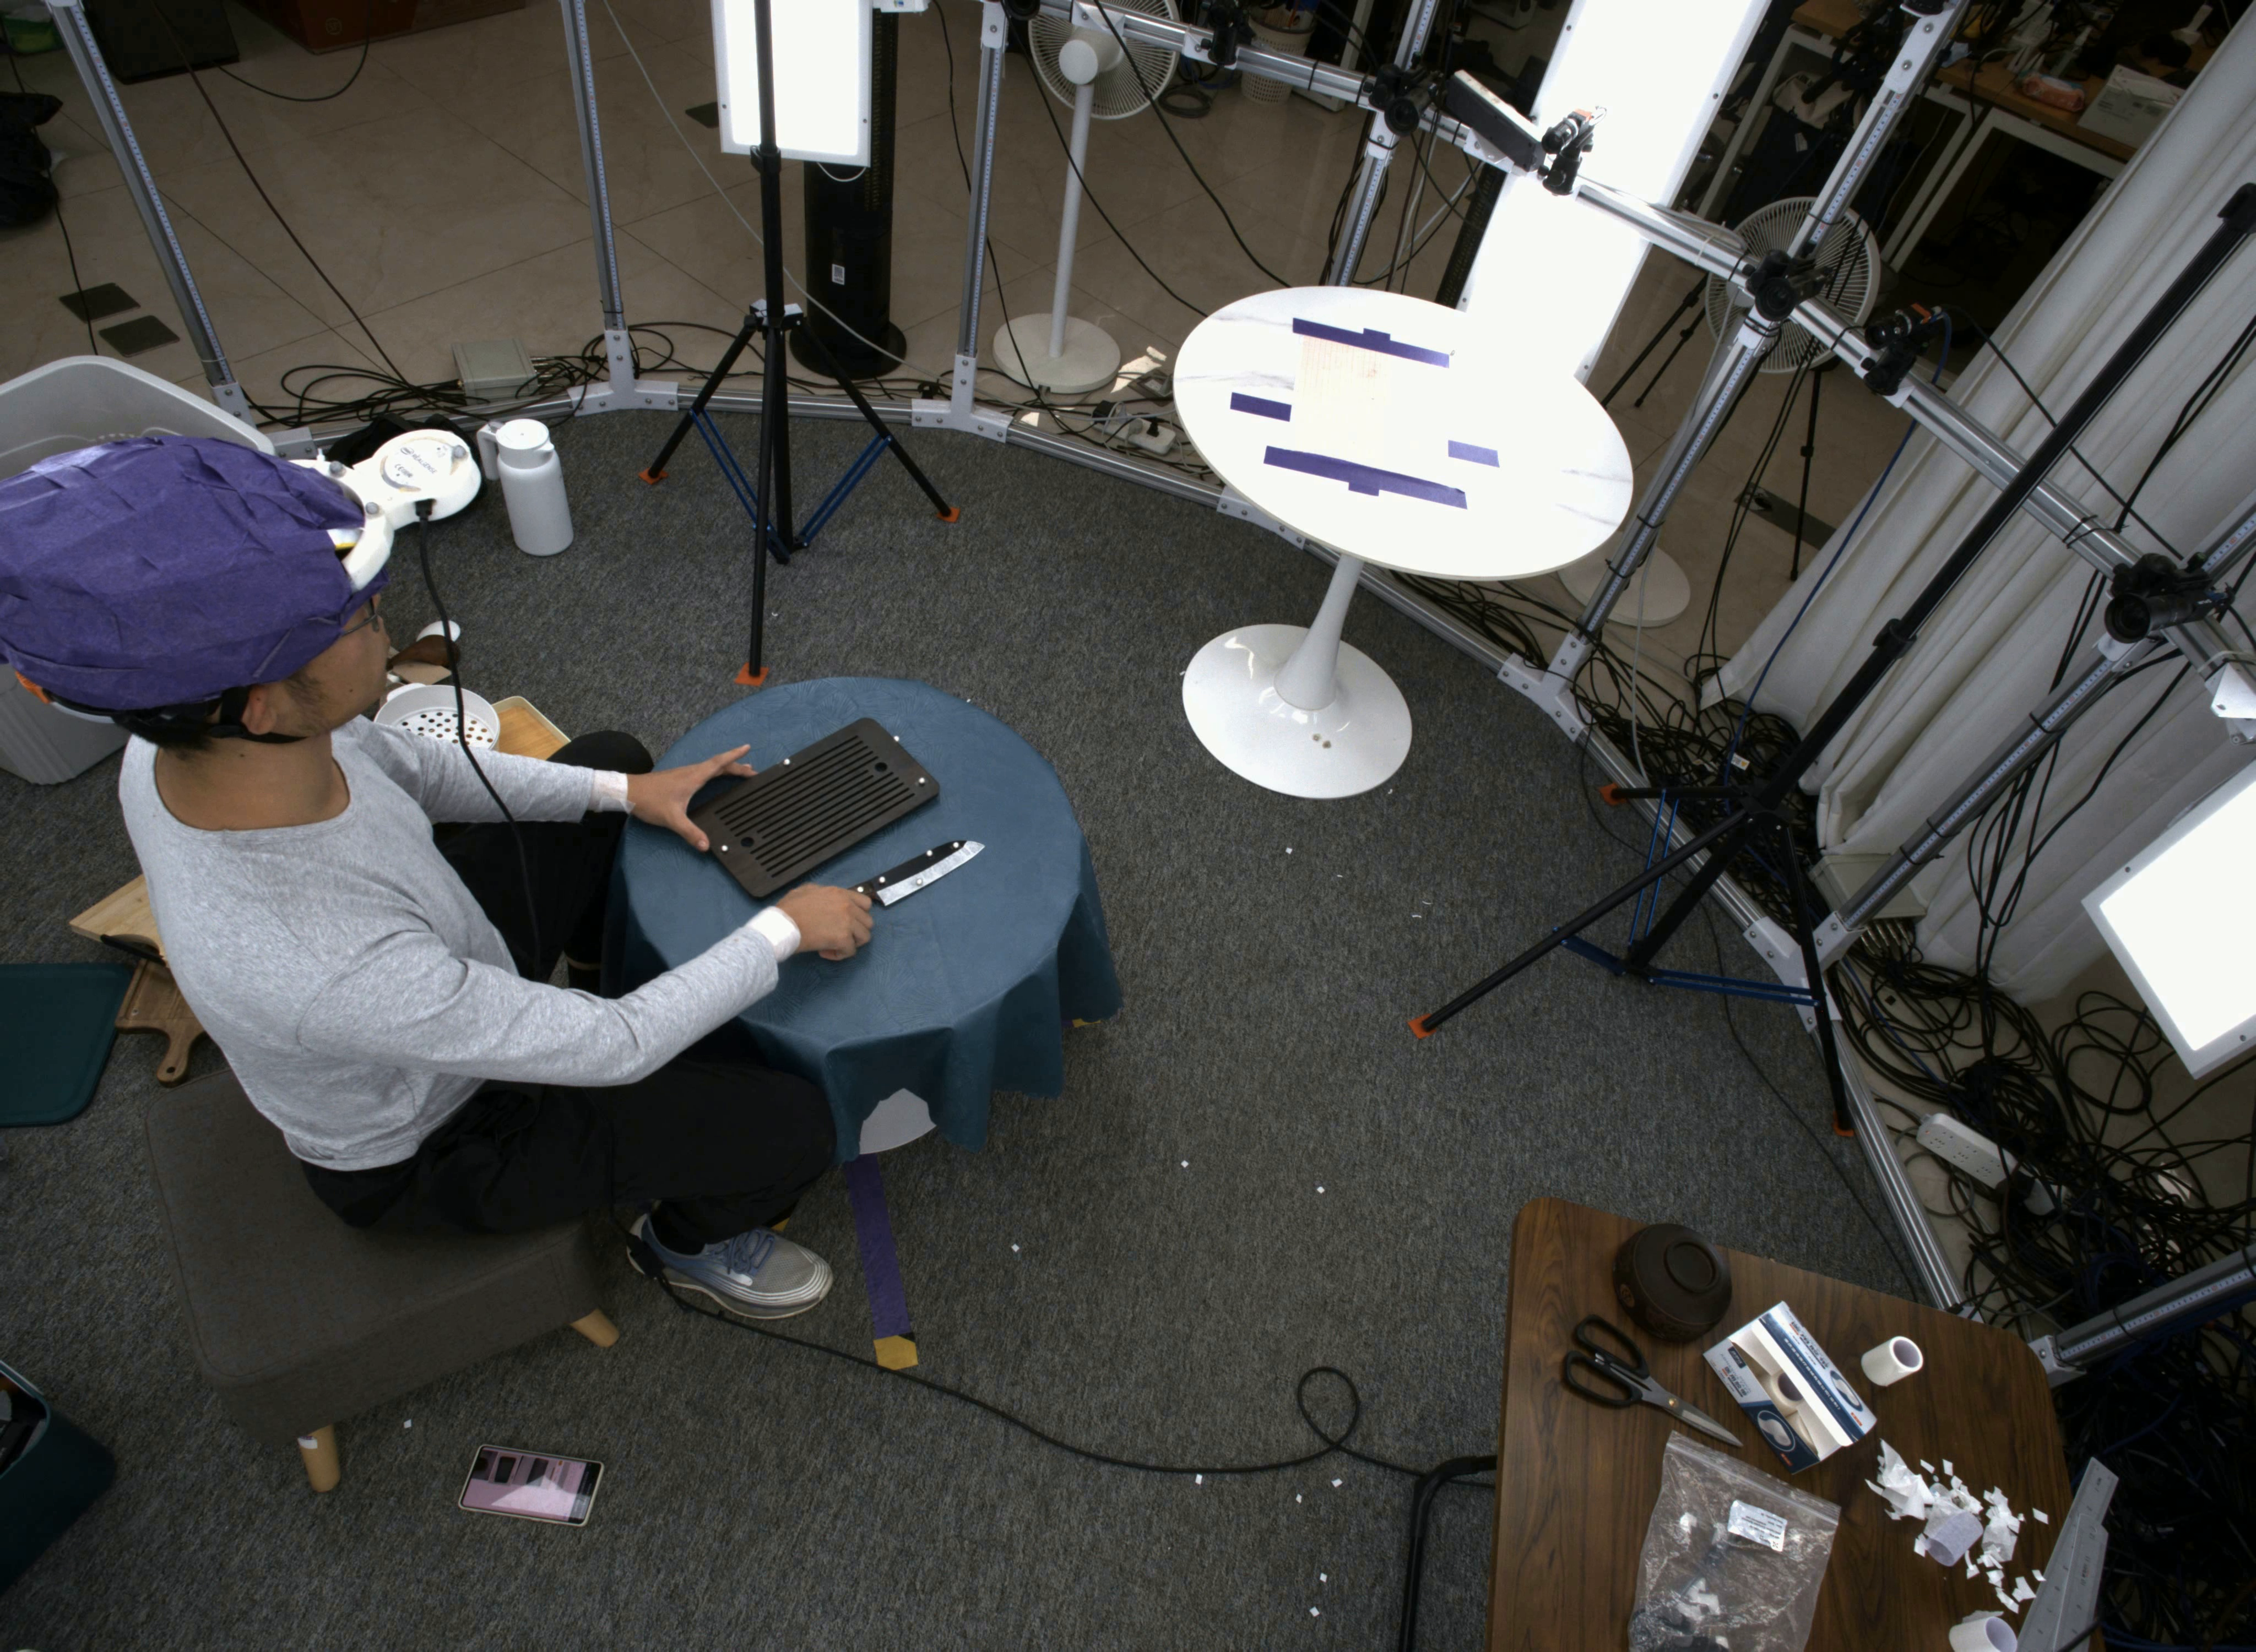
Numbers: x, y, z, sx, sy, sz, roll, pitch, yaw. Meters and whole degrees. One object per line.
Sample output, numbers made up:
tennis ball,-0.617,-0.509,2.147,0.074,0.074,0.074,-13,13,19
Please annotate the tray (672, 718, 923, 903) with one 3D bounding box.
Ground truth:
tray,-0.440,-0.026,1.739,0.306,0.019,0.166,-35,69,-32

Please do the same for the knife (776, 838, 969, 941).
knife,-0.327,0.077,1.694,0.290,0.020,0.049,-27,69,-32
